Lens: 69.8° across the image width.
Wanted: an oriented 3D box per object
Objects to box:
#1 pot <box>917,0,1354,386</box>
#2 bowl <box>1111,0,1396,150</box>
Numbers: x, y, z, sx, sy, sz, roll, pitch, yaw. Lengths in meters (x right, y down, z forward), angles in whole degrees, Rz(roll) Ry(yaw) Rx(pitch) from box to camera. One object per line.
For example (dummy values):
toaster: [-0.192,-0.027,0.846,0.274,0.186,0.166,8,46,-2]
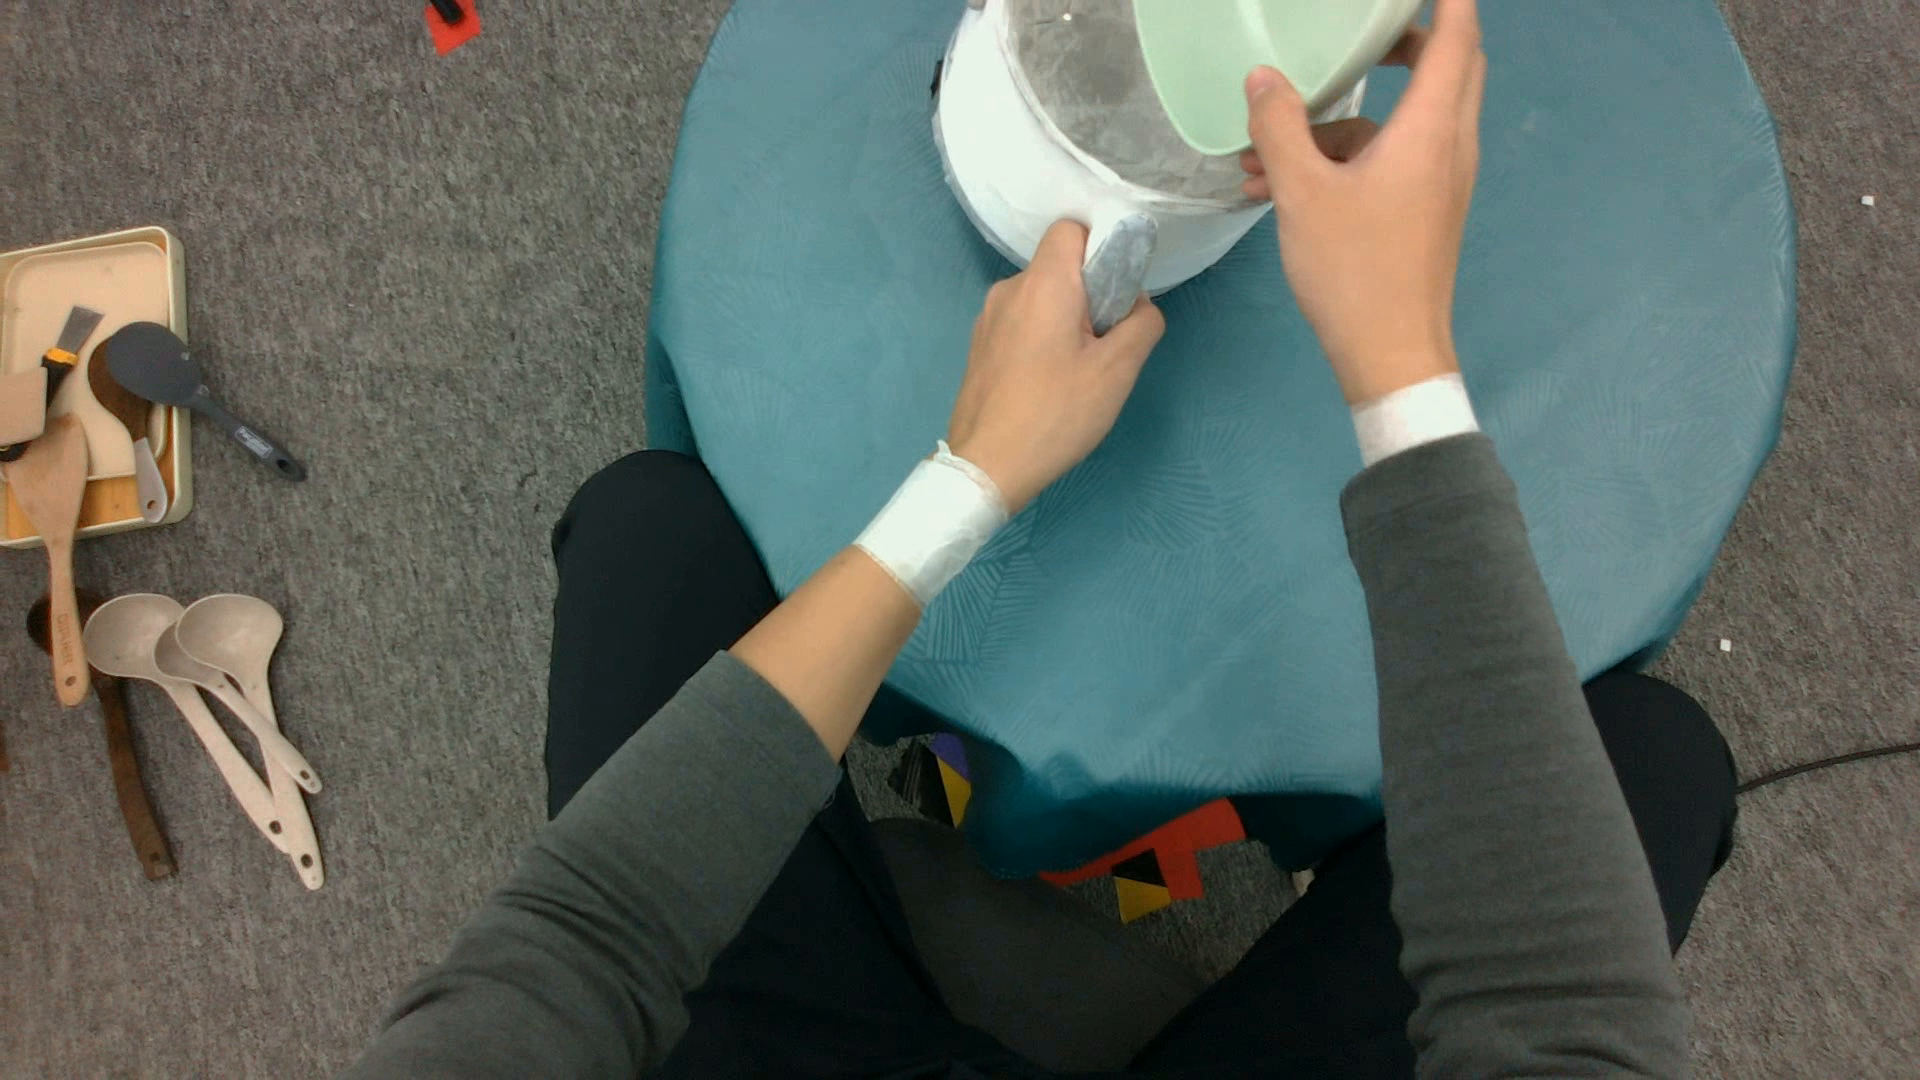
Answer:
pot: [0.072,-0.193,0.660,0.179,0.136,0.234,16,76,-13]
bowl: [0.128,-0.238,0.571,0.059,0.151,0.151,-6,75,-30]
